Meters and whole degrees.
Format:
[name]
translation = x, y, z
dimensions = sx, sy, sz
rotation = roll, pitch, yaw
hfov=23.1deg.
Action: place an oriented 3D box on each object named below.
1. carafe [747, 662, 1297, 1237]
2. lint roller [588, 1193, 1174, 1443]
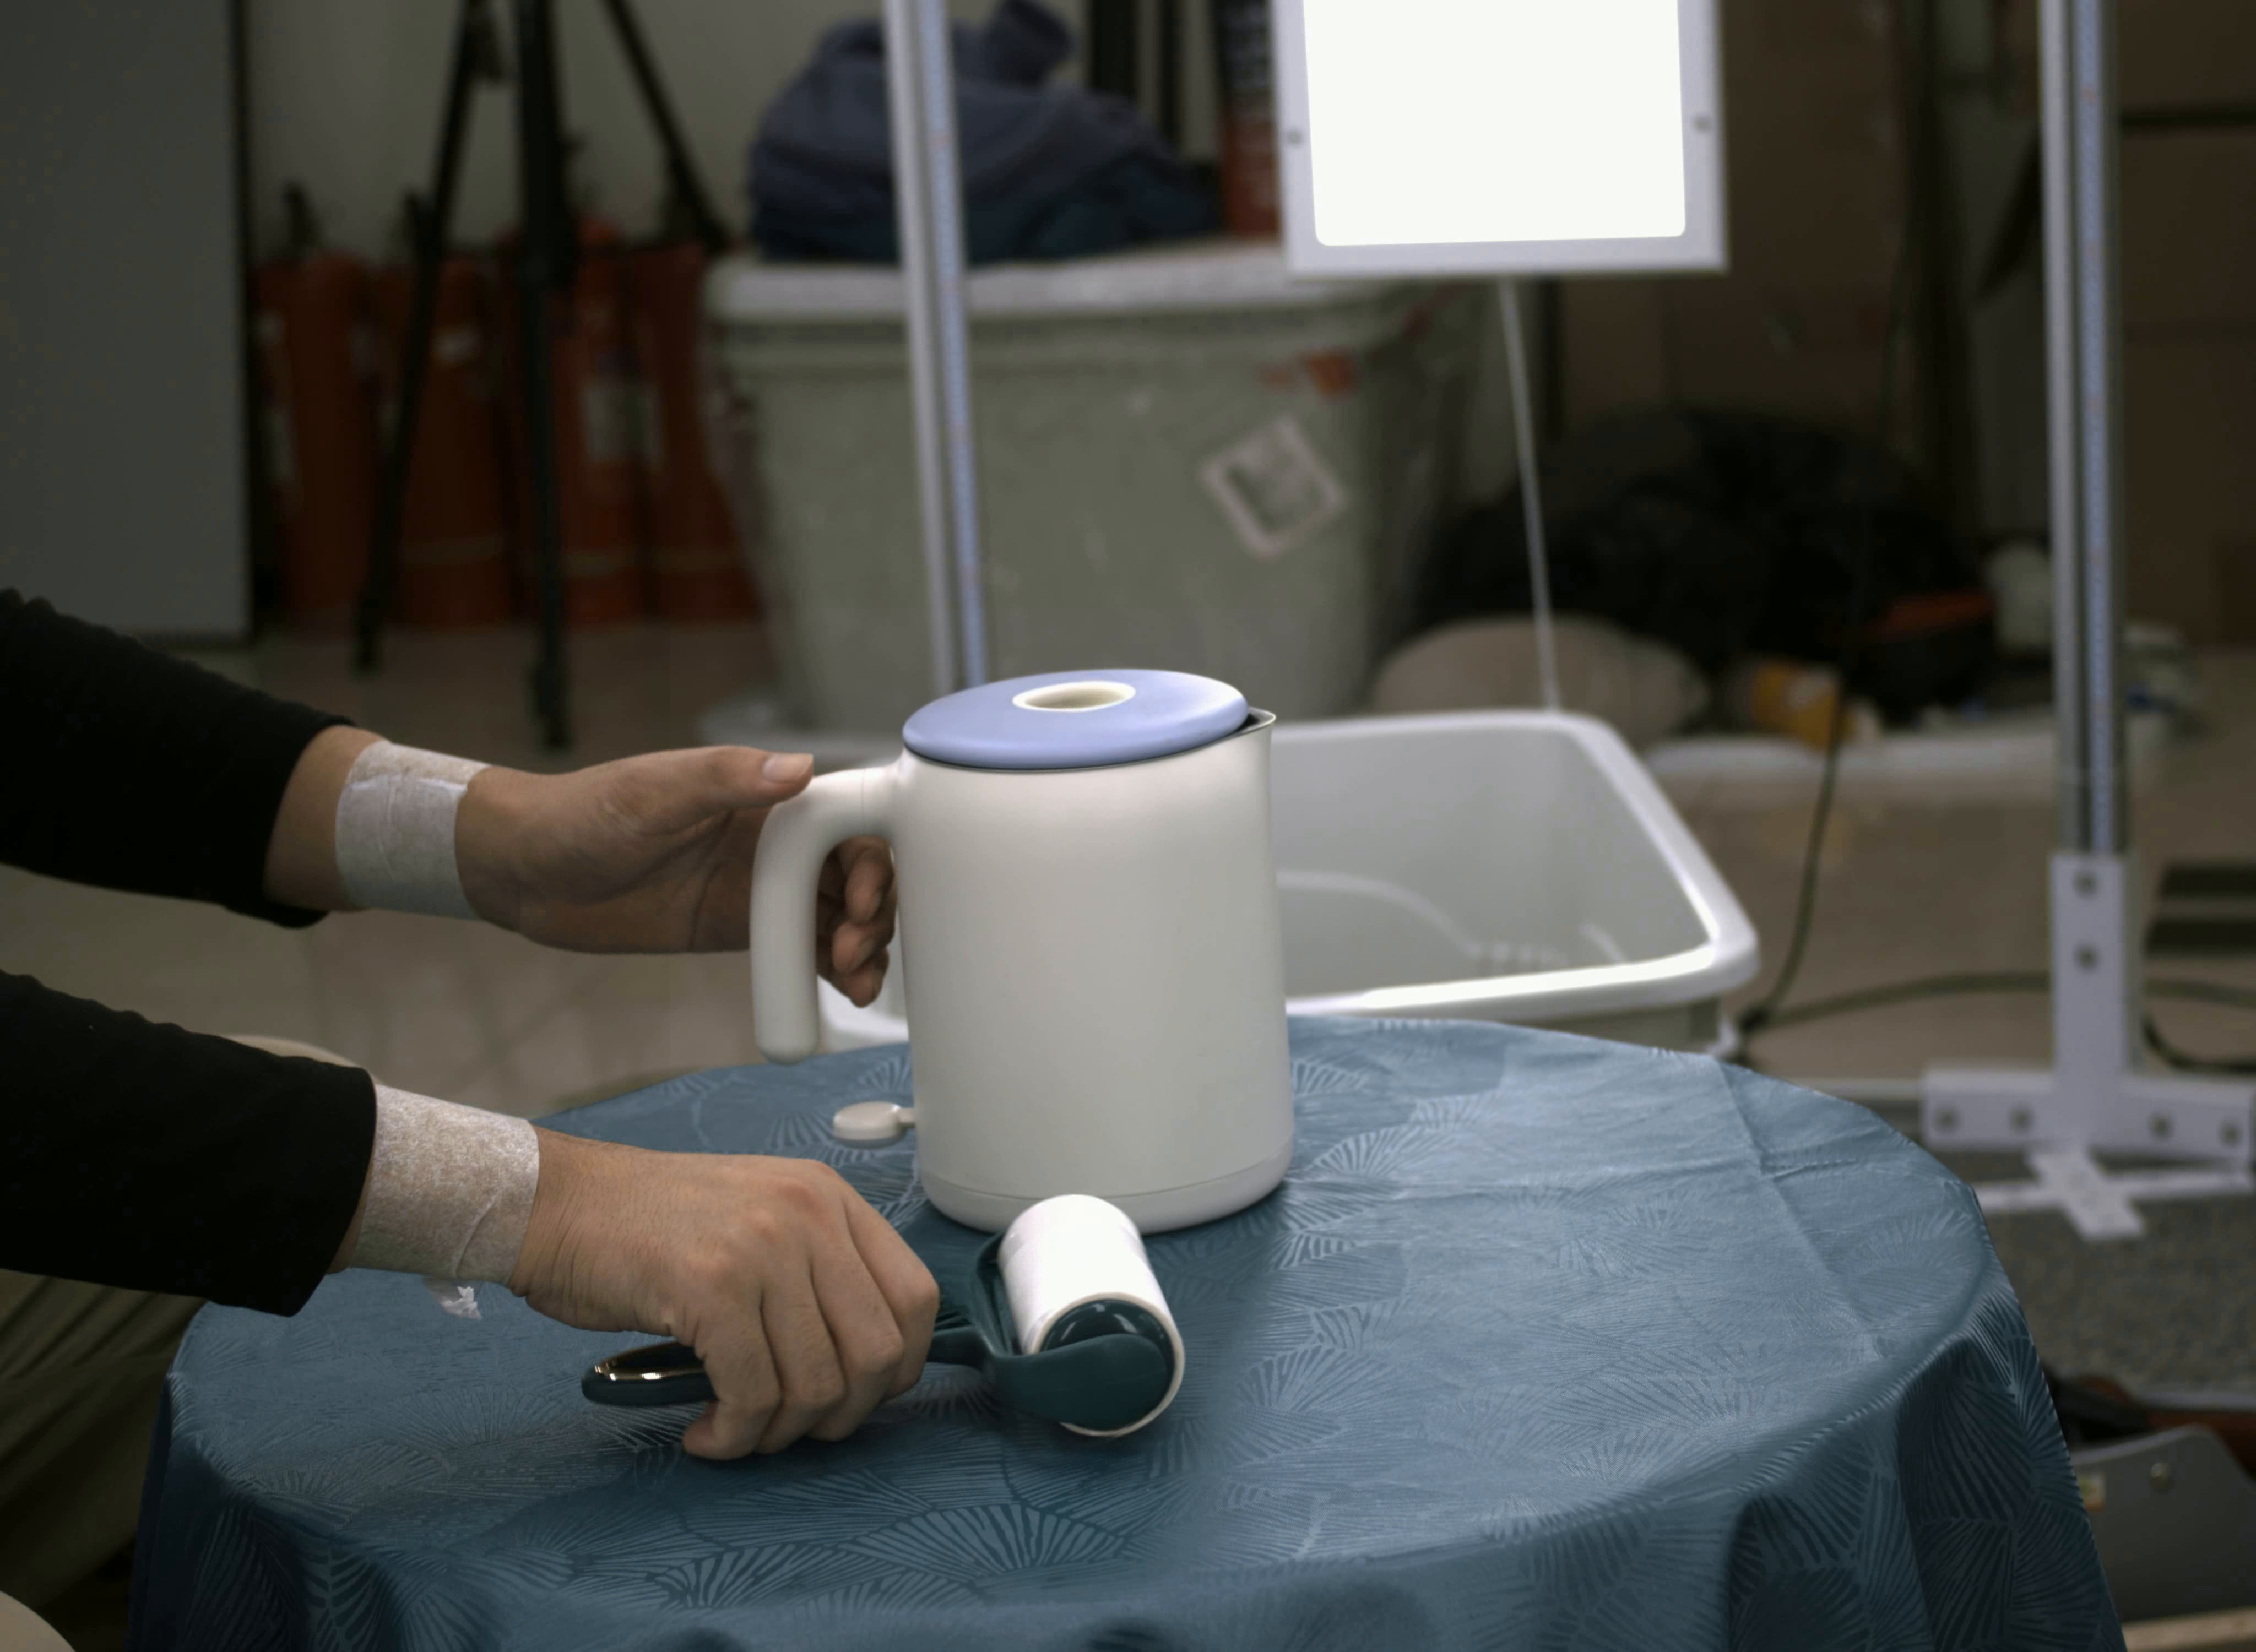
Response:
[carafe]
translation = -0.037, 0.044, 1.887
dimensions = 0.192, 0.183, 0.131
rotation = -5, 13, 7
[lint roller]
translation = -0.079, 0.157, 1.701
dimensions = 0.179, 0.048, 0.134
rotation = -6, 14, -2
